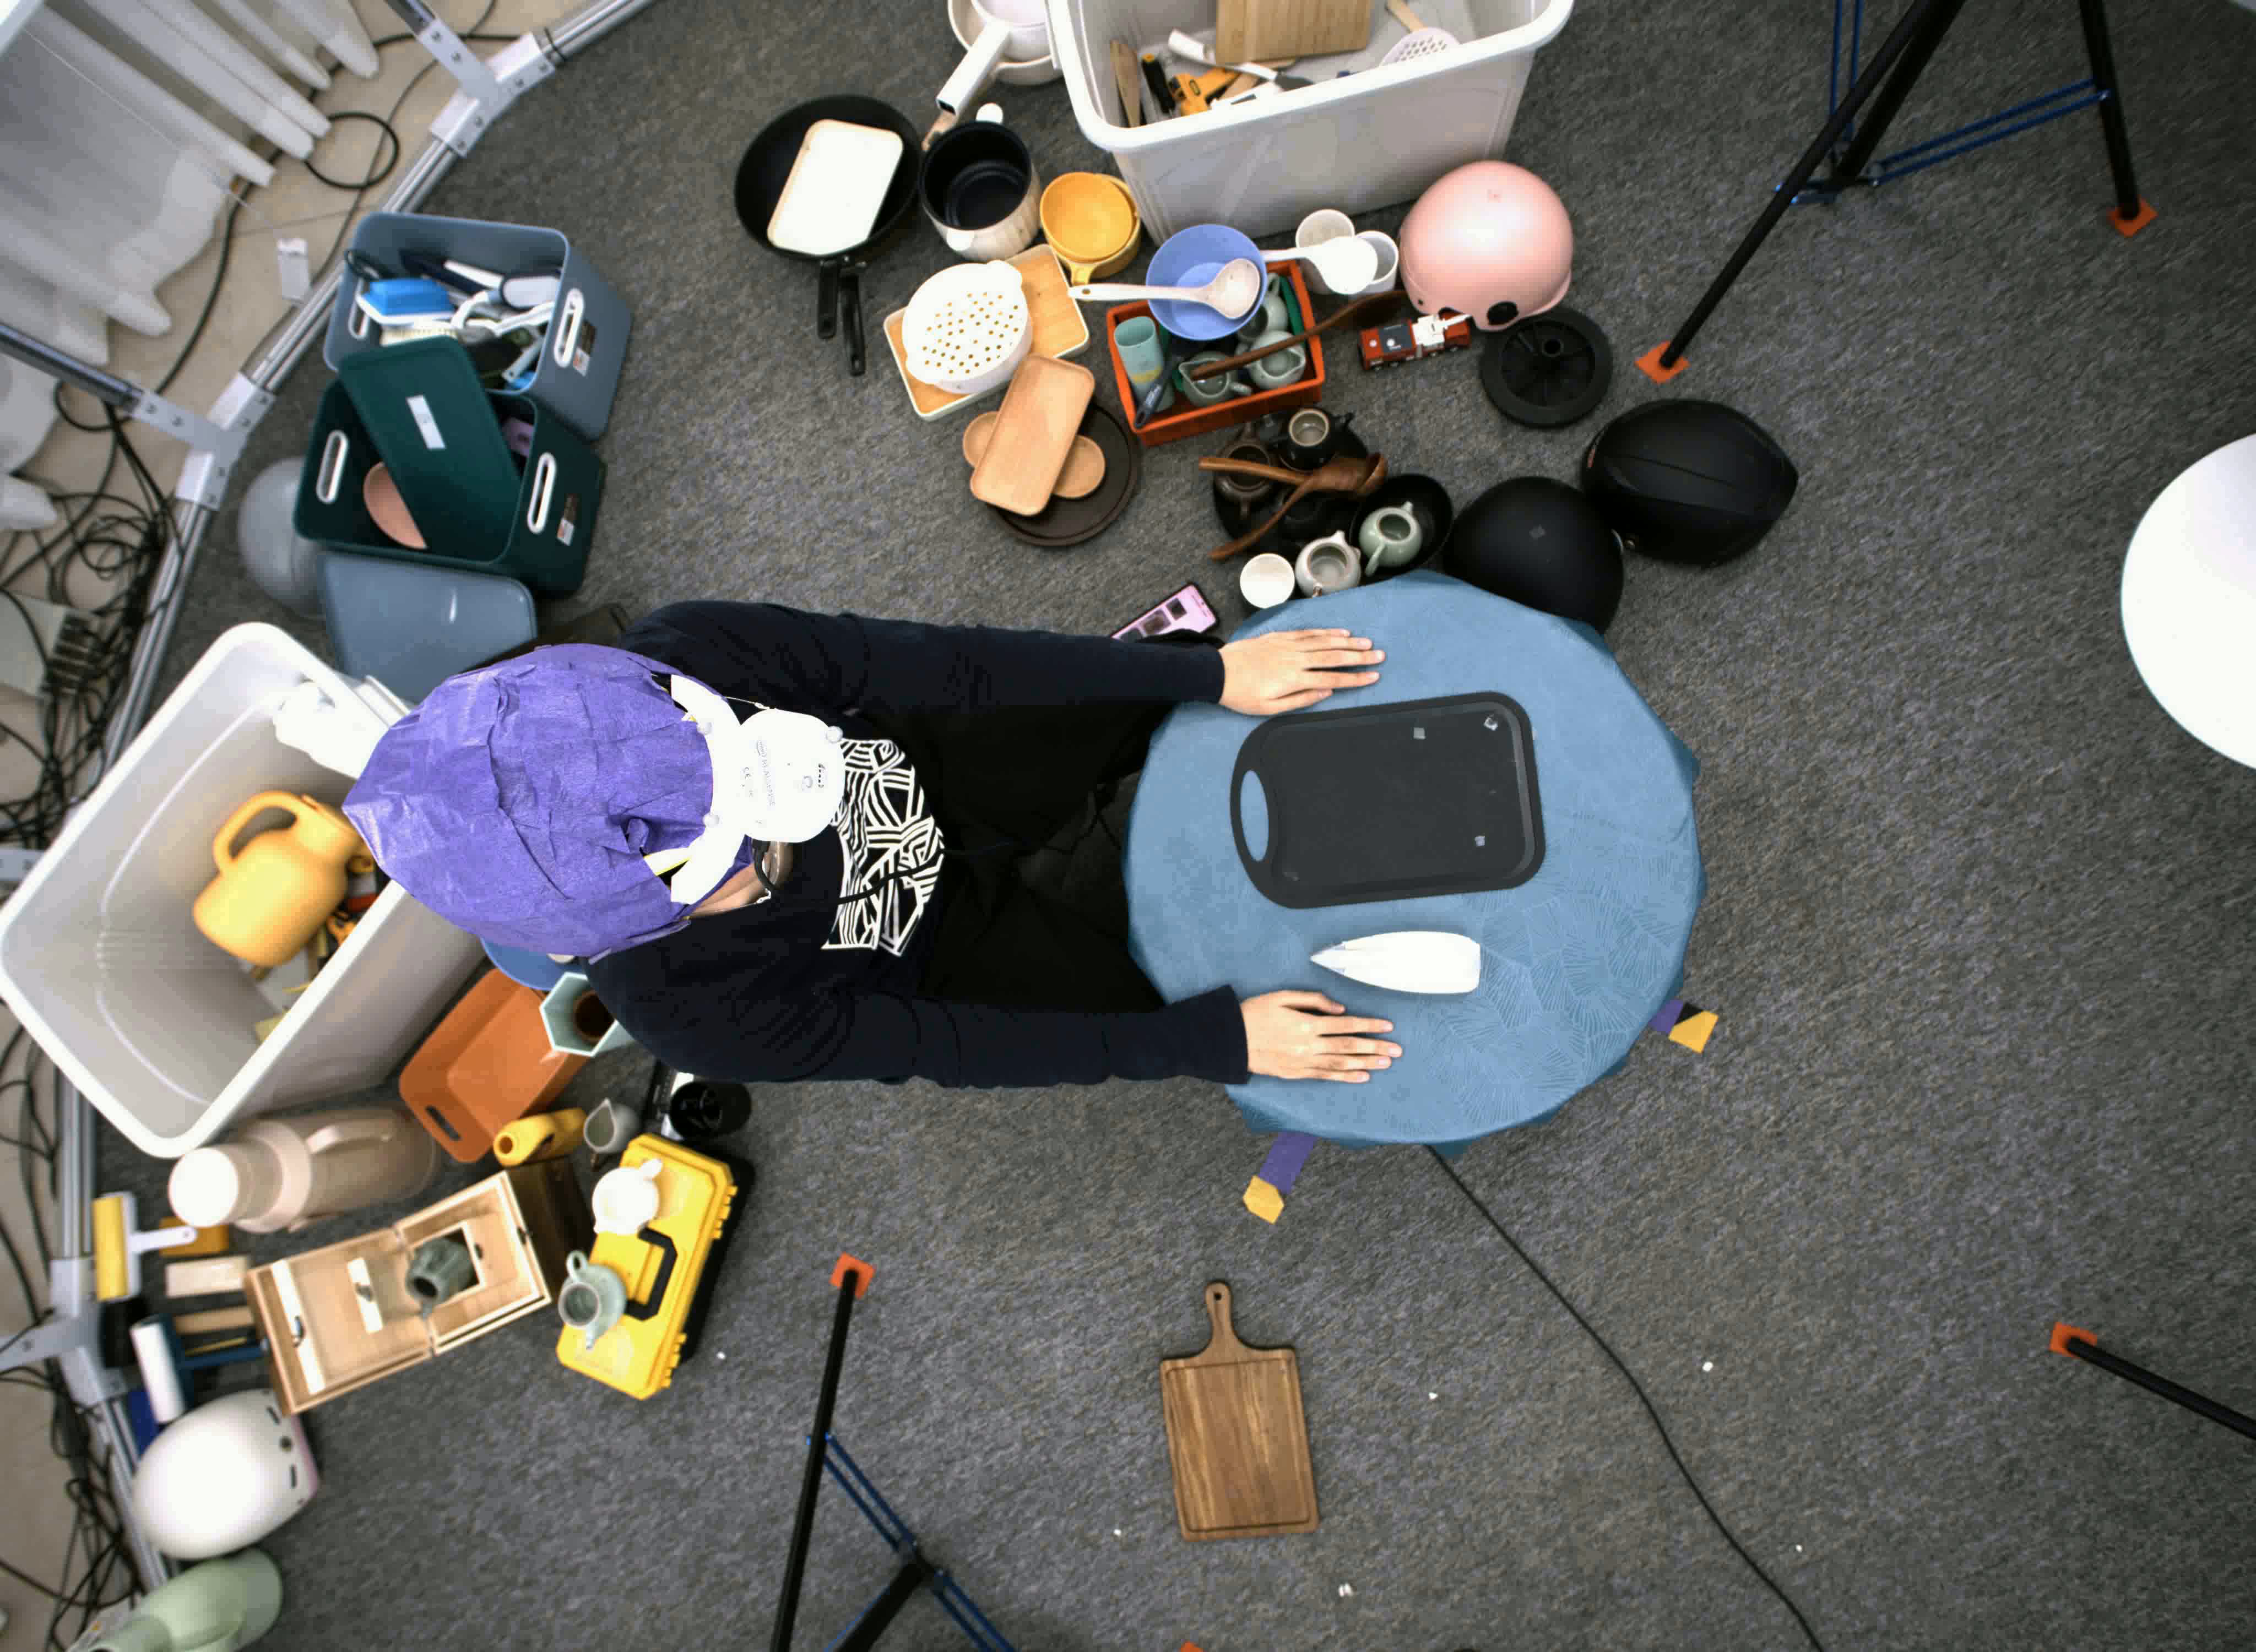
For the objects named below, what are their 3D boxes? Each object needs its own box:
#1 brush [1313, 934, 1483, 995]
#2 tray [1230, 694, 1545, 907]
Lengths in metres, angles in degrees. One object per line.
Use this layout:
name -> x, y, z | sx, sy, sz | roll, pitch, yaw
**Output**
brush -> 0.274, 0.138, 1.408 | 0.176, 0.094, 0.061 | 2, 84, 13
tray -> 0.270, -0.027, 1.460 | 0.327, 0.010, 0.210 | -5, 86, 11
